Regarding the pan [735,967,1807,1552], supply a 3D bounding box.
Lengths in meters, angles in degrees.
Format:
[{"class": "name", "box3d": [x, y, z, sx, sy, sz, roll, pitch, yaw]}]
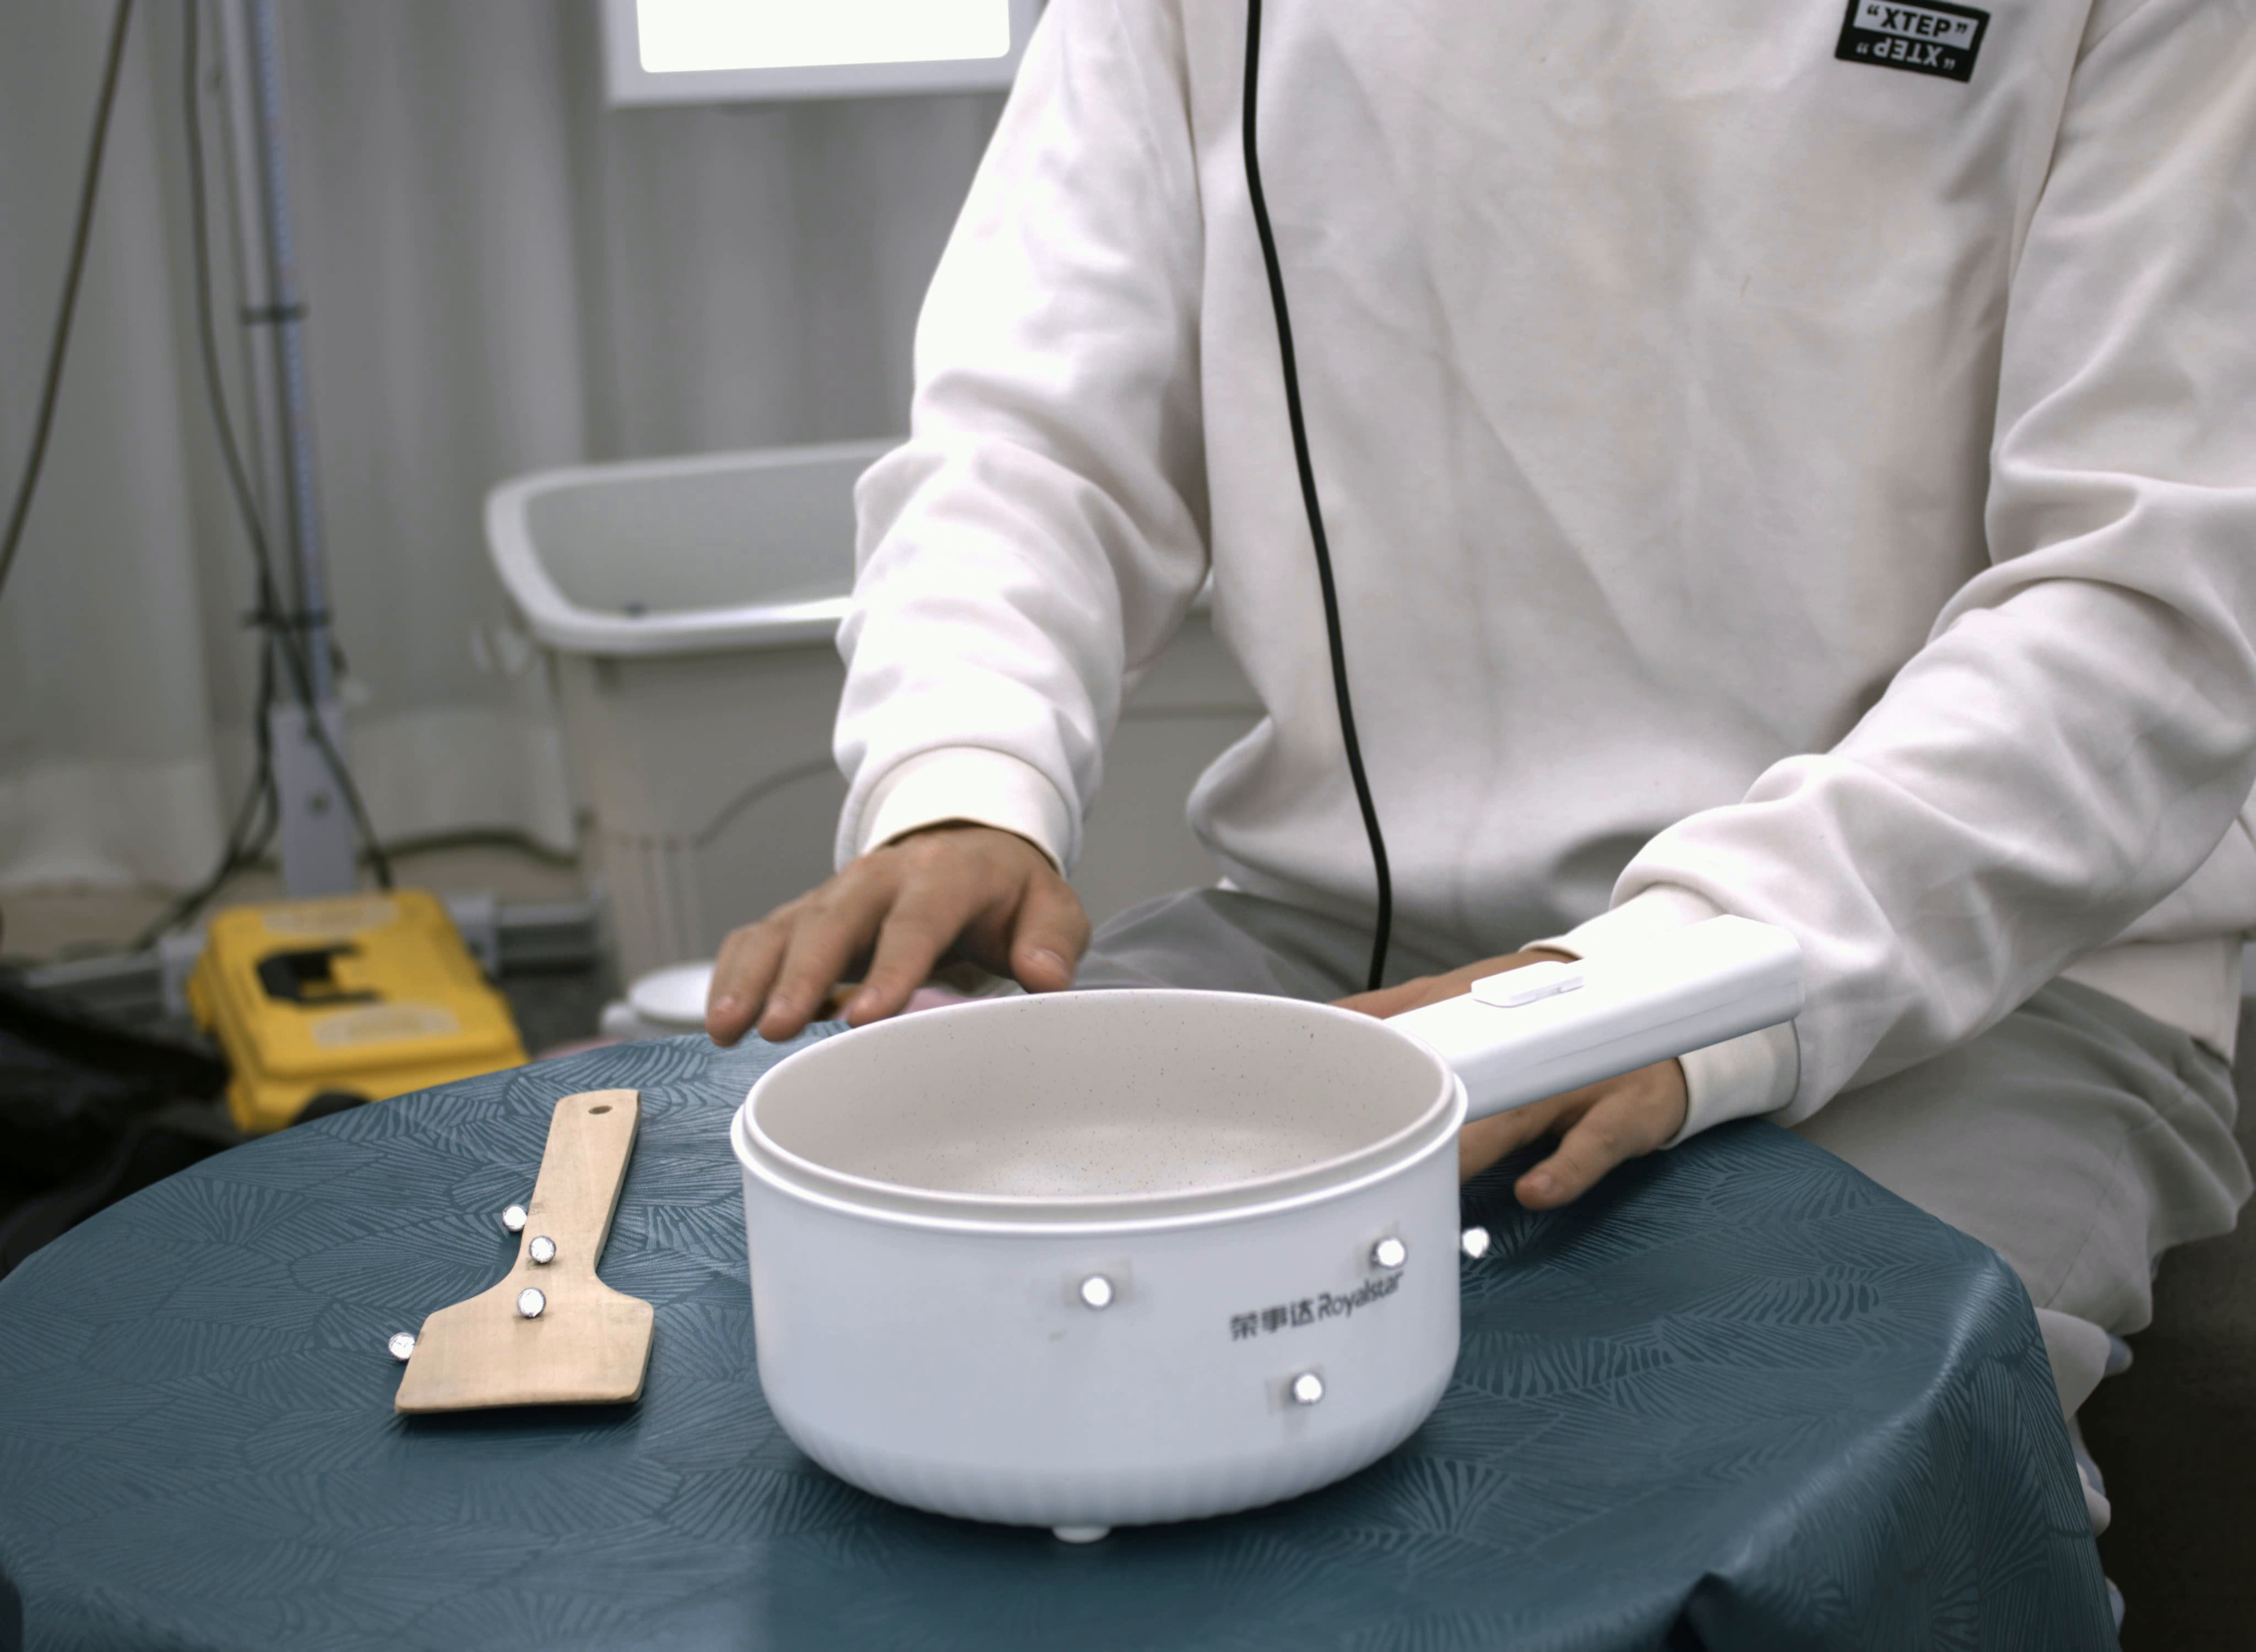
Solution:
[{"class": "pan", "box3d": [0.054, 0.116, 1.548, 0.353, 0.102, 0.202, -10, 12, -38]}]
